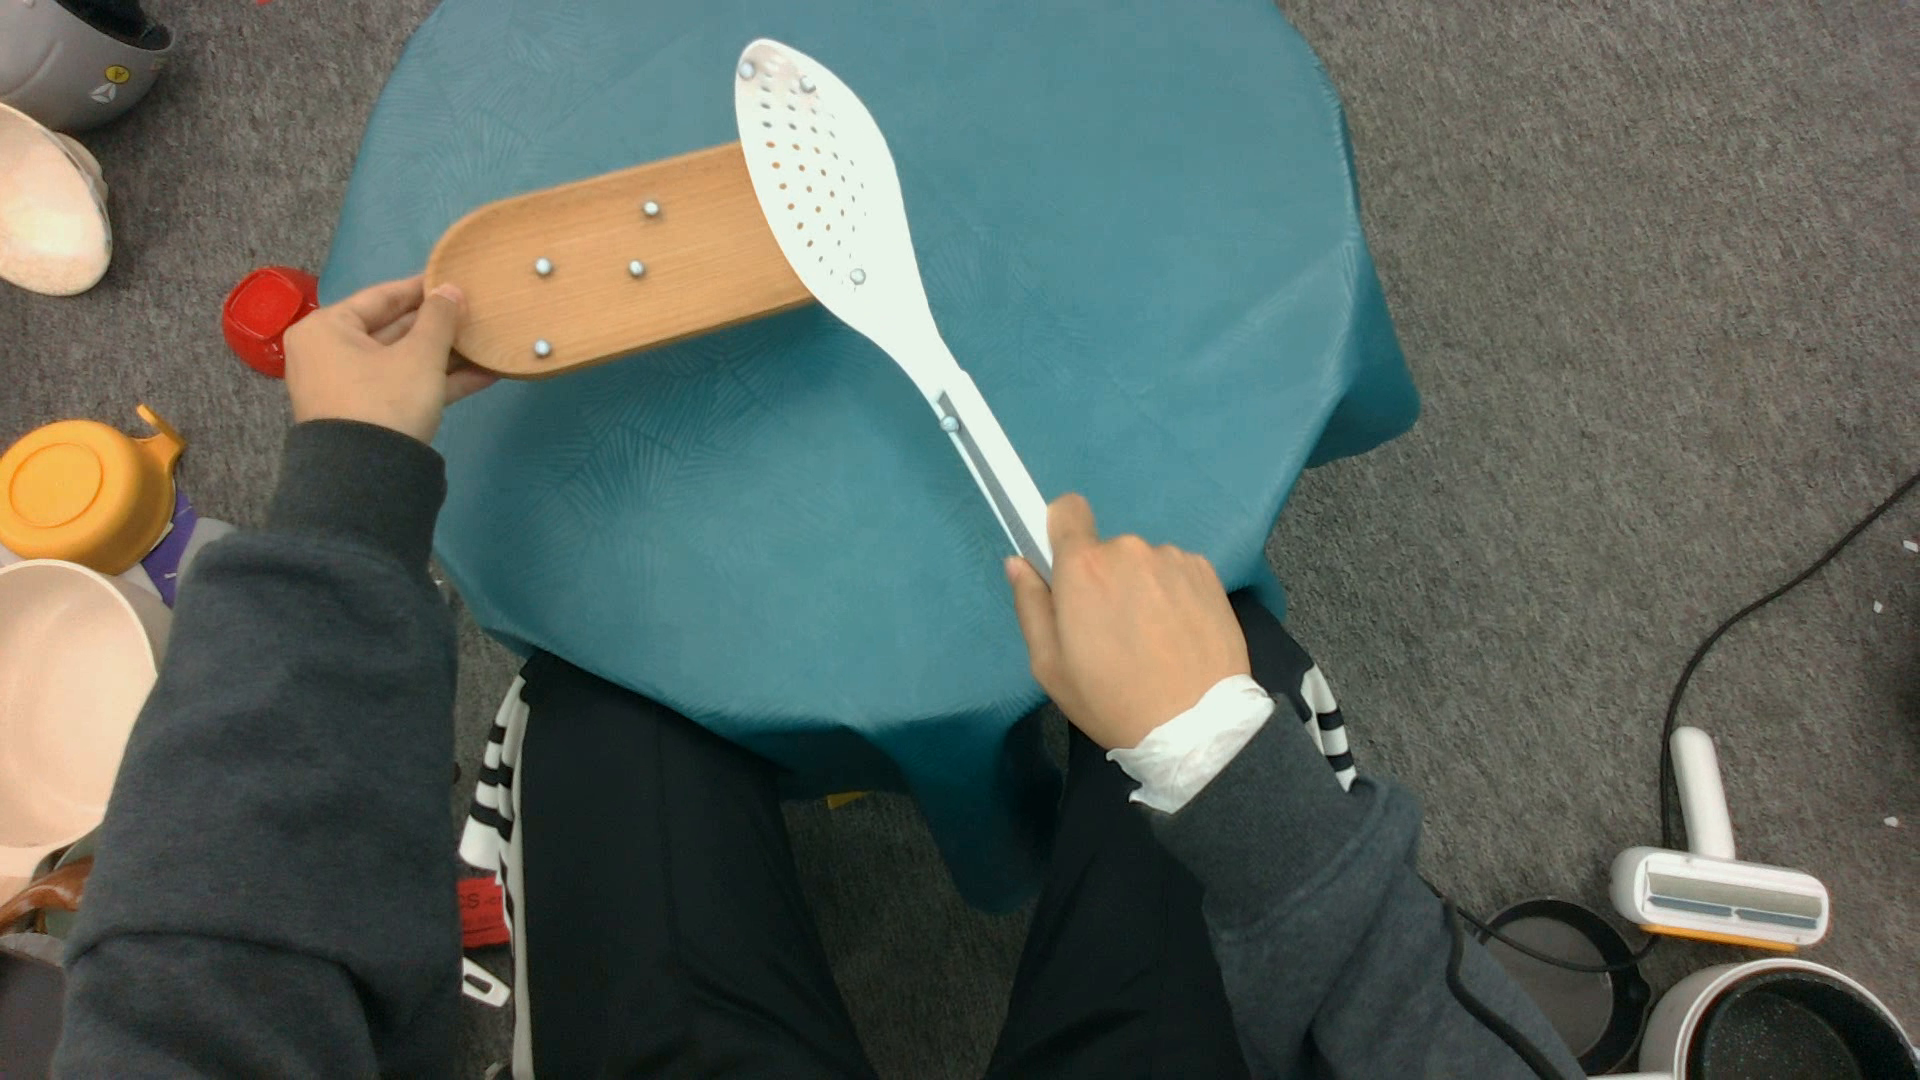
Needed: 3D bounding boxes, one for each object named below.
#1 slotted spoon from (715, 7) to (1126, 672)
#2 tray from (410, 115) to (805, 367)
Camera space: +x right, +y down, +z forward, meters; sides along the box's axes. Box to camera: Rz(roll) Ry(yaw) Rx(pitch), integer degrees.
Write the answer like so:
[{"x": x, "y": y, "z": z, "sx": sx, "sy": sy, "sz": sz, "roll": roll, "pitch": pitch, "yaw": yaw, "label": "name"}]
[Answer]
[{"x": -0.021, "y": -0.093, "z": 0.642, "sx": 0.046, "sy": 0.135, "sz": 0.350, "roll": -22, "pitch": 79, "yaw": -25, "label": "slotted spoon"}, {"x": -0.170, "y": -0.159, "z": 0.725, "sx": 0.232, "sy": 0.020, "sz": 0.102, "roll": -21, "pitch": 77, "yaw": -16, "label": "tray"}]
